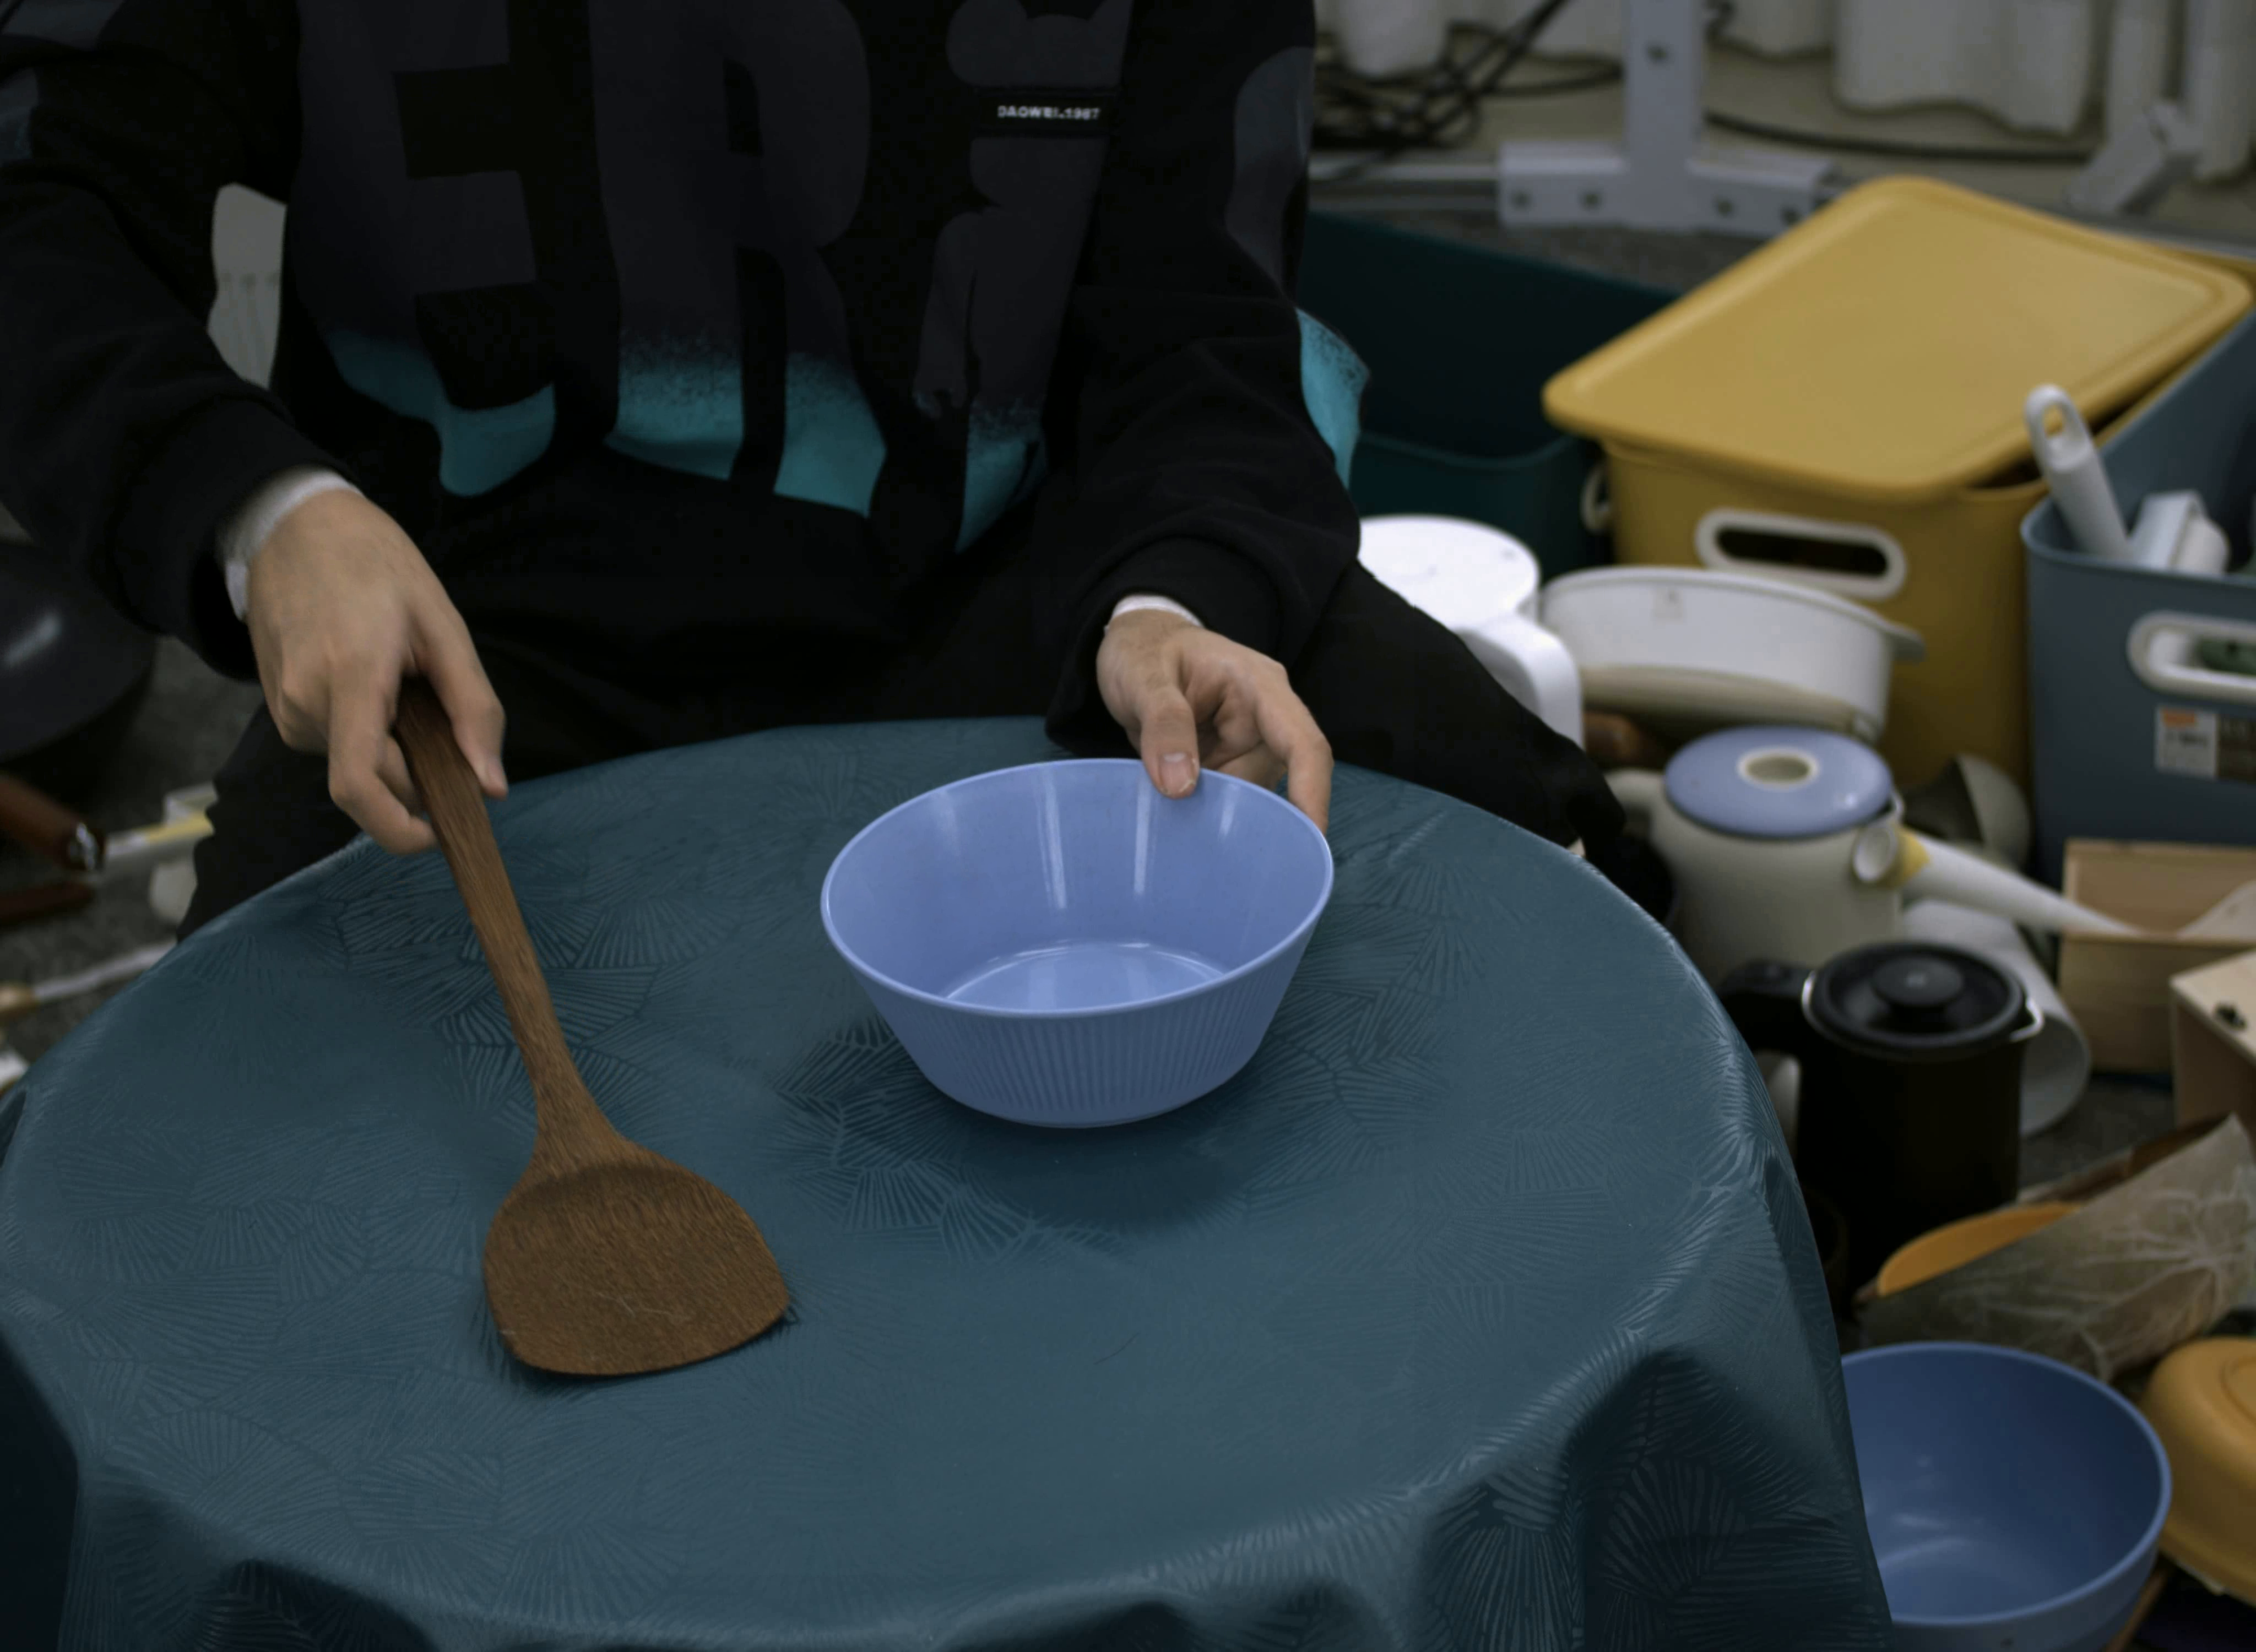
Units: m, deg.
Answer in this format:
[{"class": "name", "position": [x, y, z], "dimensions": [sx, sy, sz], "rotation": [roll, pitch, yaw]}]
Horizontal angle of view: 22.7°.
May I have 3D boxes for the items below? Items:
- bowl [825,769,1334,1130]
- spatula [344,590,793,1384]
[{"class": "bowl", "position": [-0.014, 0.048, 1.928], "dimensions": [0.175, 0.069, 0.178], "rotation": [-3, 26, 2]}, {"class": "spatula", "position": [-0.209, 0.044, 1.905], "dimensions": [0.096, 0.015, 0.391], "rotation": [-9, 46, -18]}]
